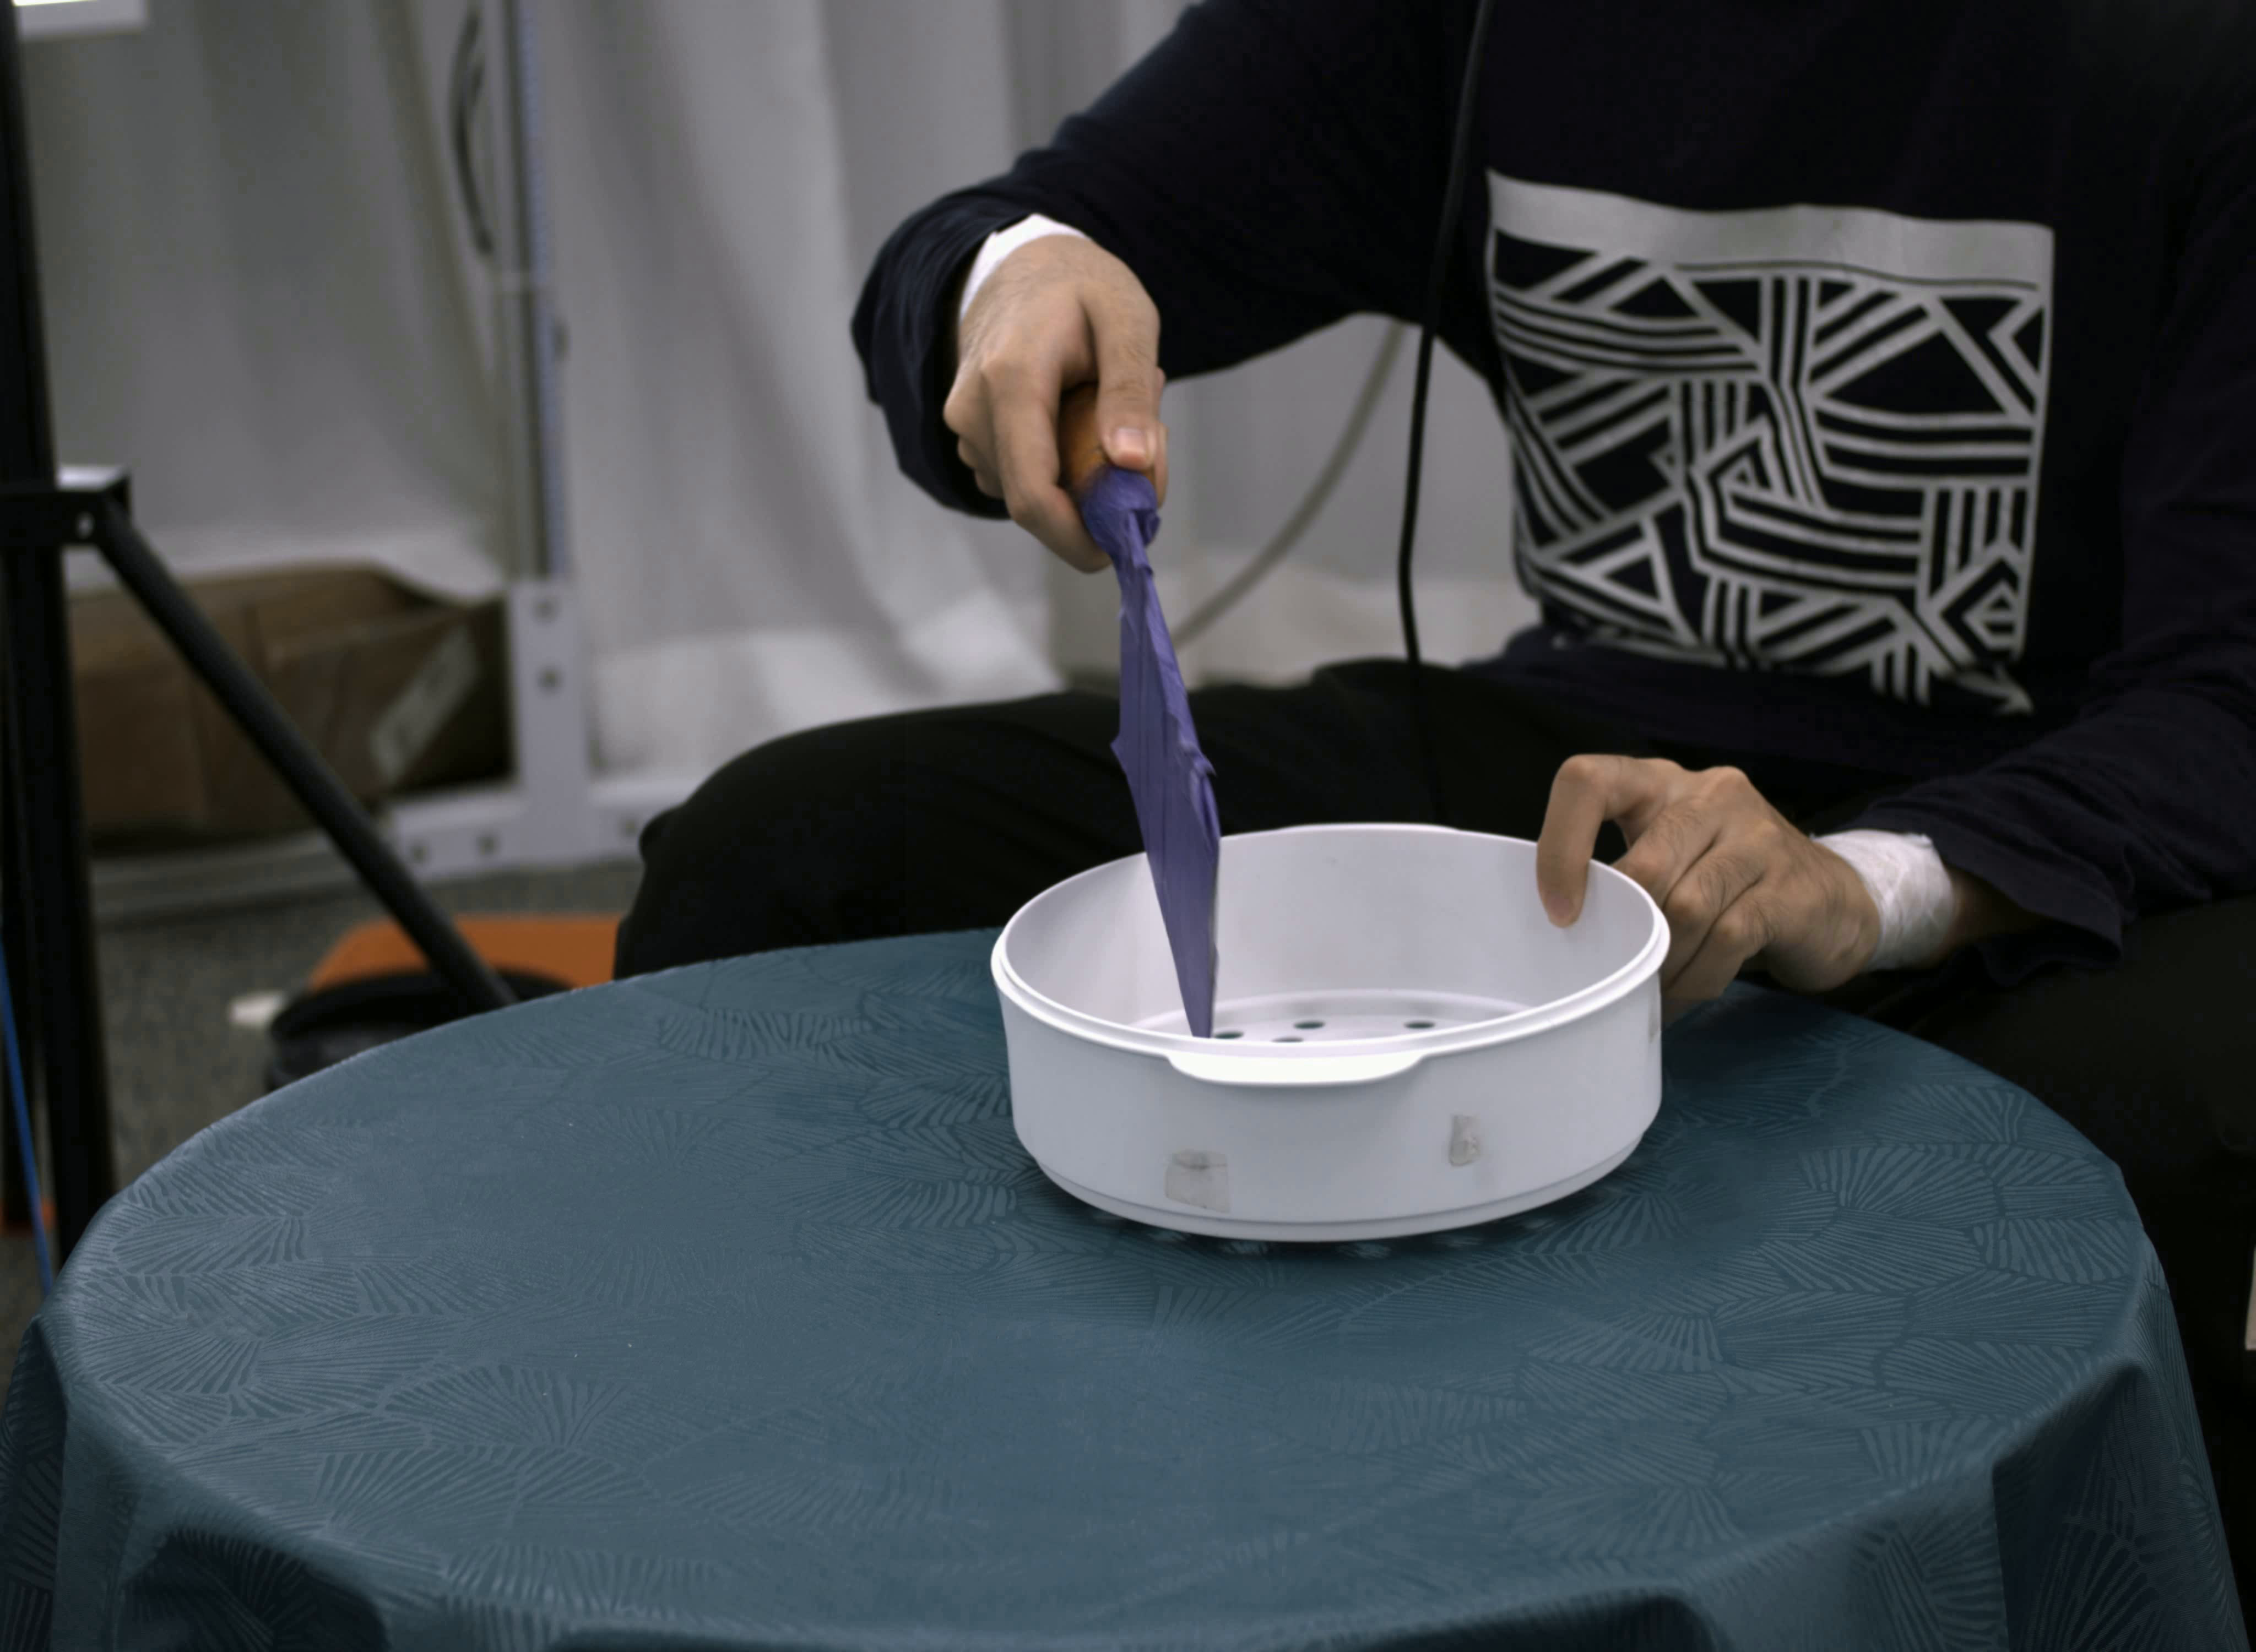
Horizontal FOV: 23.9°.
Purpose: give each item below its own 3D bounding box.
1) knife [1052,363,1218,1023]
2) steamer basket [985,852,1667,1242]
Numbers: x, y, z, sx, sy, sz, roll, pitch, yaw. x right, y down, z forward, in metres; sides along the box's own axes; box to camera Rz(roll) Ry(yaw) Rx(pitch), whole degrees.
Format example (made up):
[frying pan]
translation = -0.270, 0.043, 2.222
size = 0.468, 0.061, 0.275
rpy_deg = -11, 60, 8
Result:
[knife]
translation = 0.002, -0.037, 1.631
size = 0.032, 0.103, 0.319
rpy_deg = 0, 29, -6
[steamer basket]
translation = 0.059, 0.065, 1.573
size = 0.202, 0.069, 0.230
rpy_deg = 0, 15, 9
